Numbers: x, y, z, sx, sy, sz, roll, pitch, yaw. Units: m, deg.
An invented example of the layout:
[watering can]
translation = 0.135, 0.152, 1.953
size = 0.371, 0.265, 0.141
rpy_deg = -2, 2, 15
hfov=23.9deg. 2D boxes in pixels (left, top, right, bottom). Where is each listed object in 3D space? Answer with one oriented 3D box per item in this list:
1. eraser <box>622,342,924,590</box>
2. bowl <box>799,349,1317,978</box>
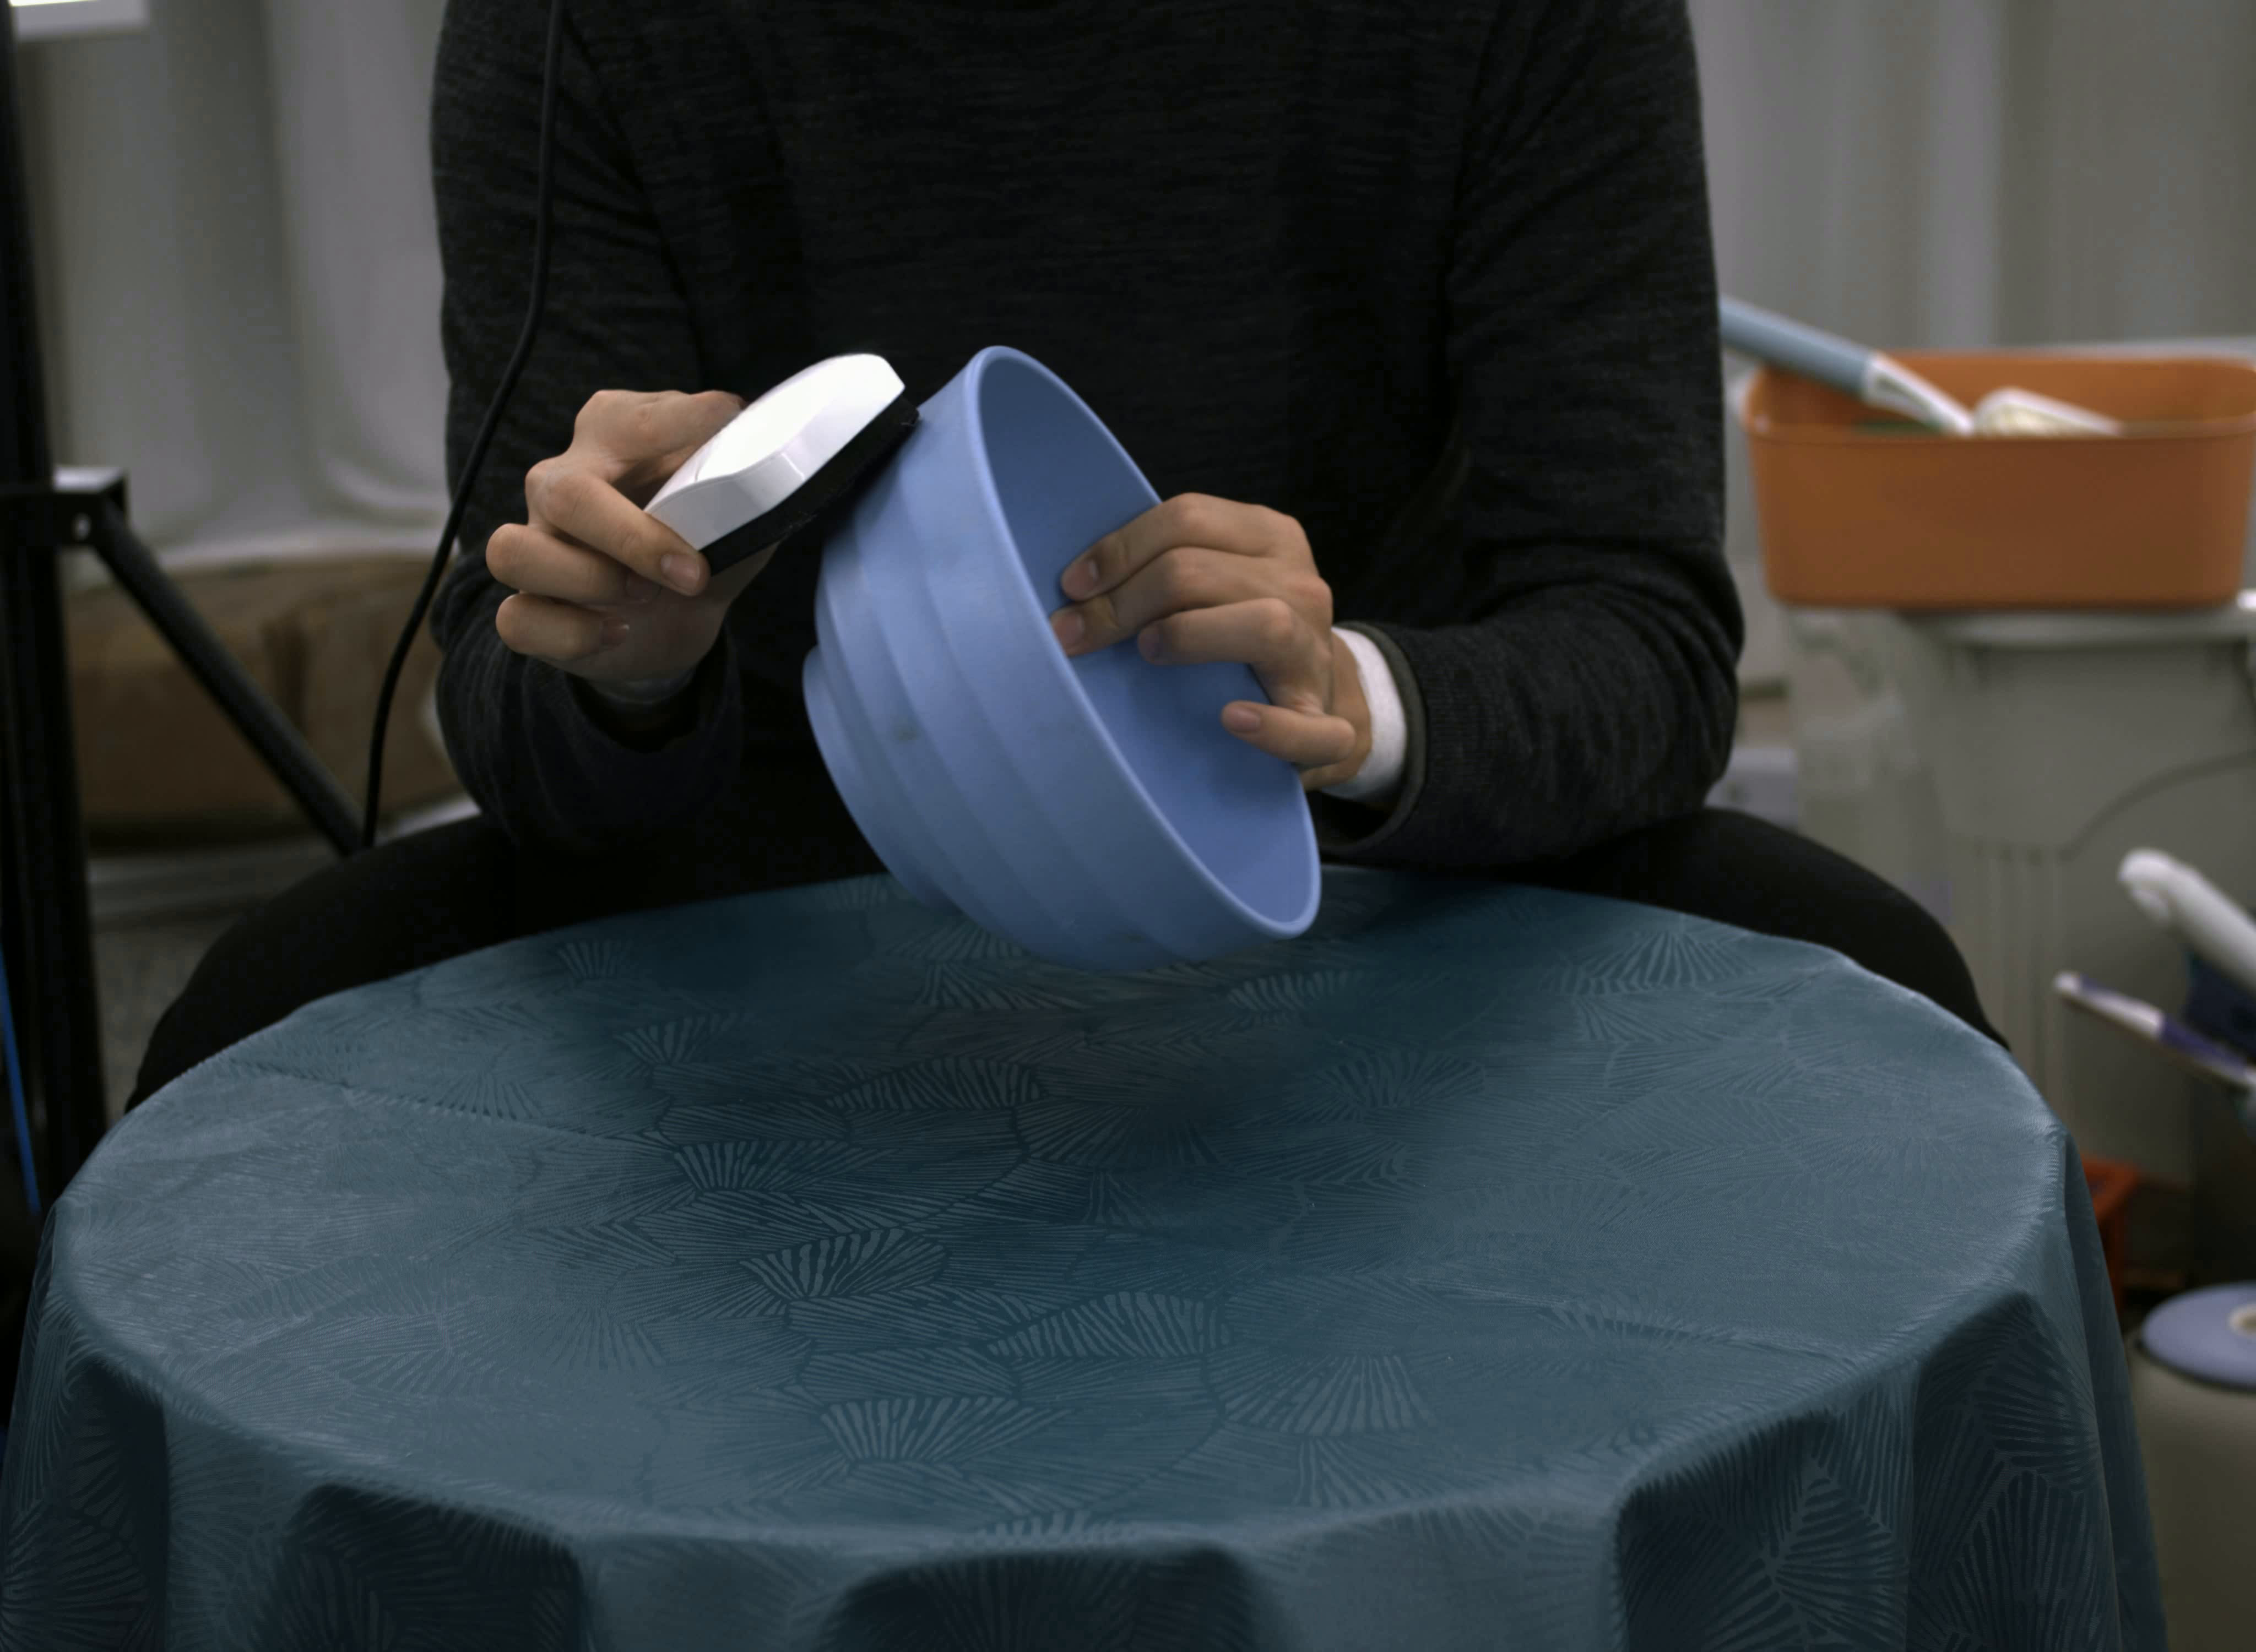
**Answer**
[eraser]
translation = -0.106, -0.108, 1.580
size = 0.063, 0.034, 0.133
rpy_deg = -43, 10, -21
[bowl]
translation = -0.034, -0.033, 1.581
size = 0.096, 0.196, 0.195
rpy_deg = -29, 9, 17
